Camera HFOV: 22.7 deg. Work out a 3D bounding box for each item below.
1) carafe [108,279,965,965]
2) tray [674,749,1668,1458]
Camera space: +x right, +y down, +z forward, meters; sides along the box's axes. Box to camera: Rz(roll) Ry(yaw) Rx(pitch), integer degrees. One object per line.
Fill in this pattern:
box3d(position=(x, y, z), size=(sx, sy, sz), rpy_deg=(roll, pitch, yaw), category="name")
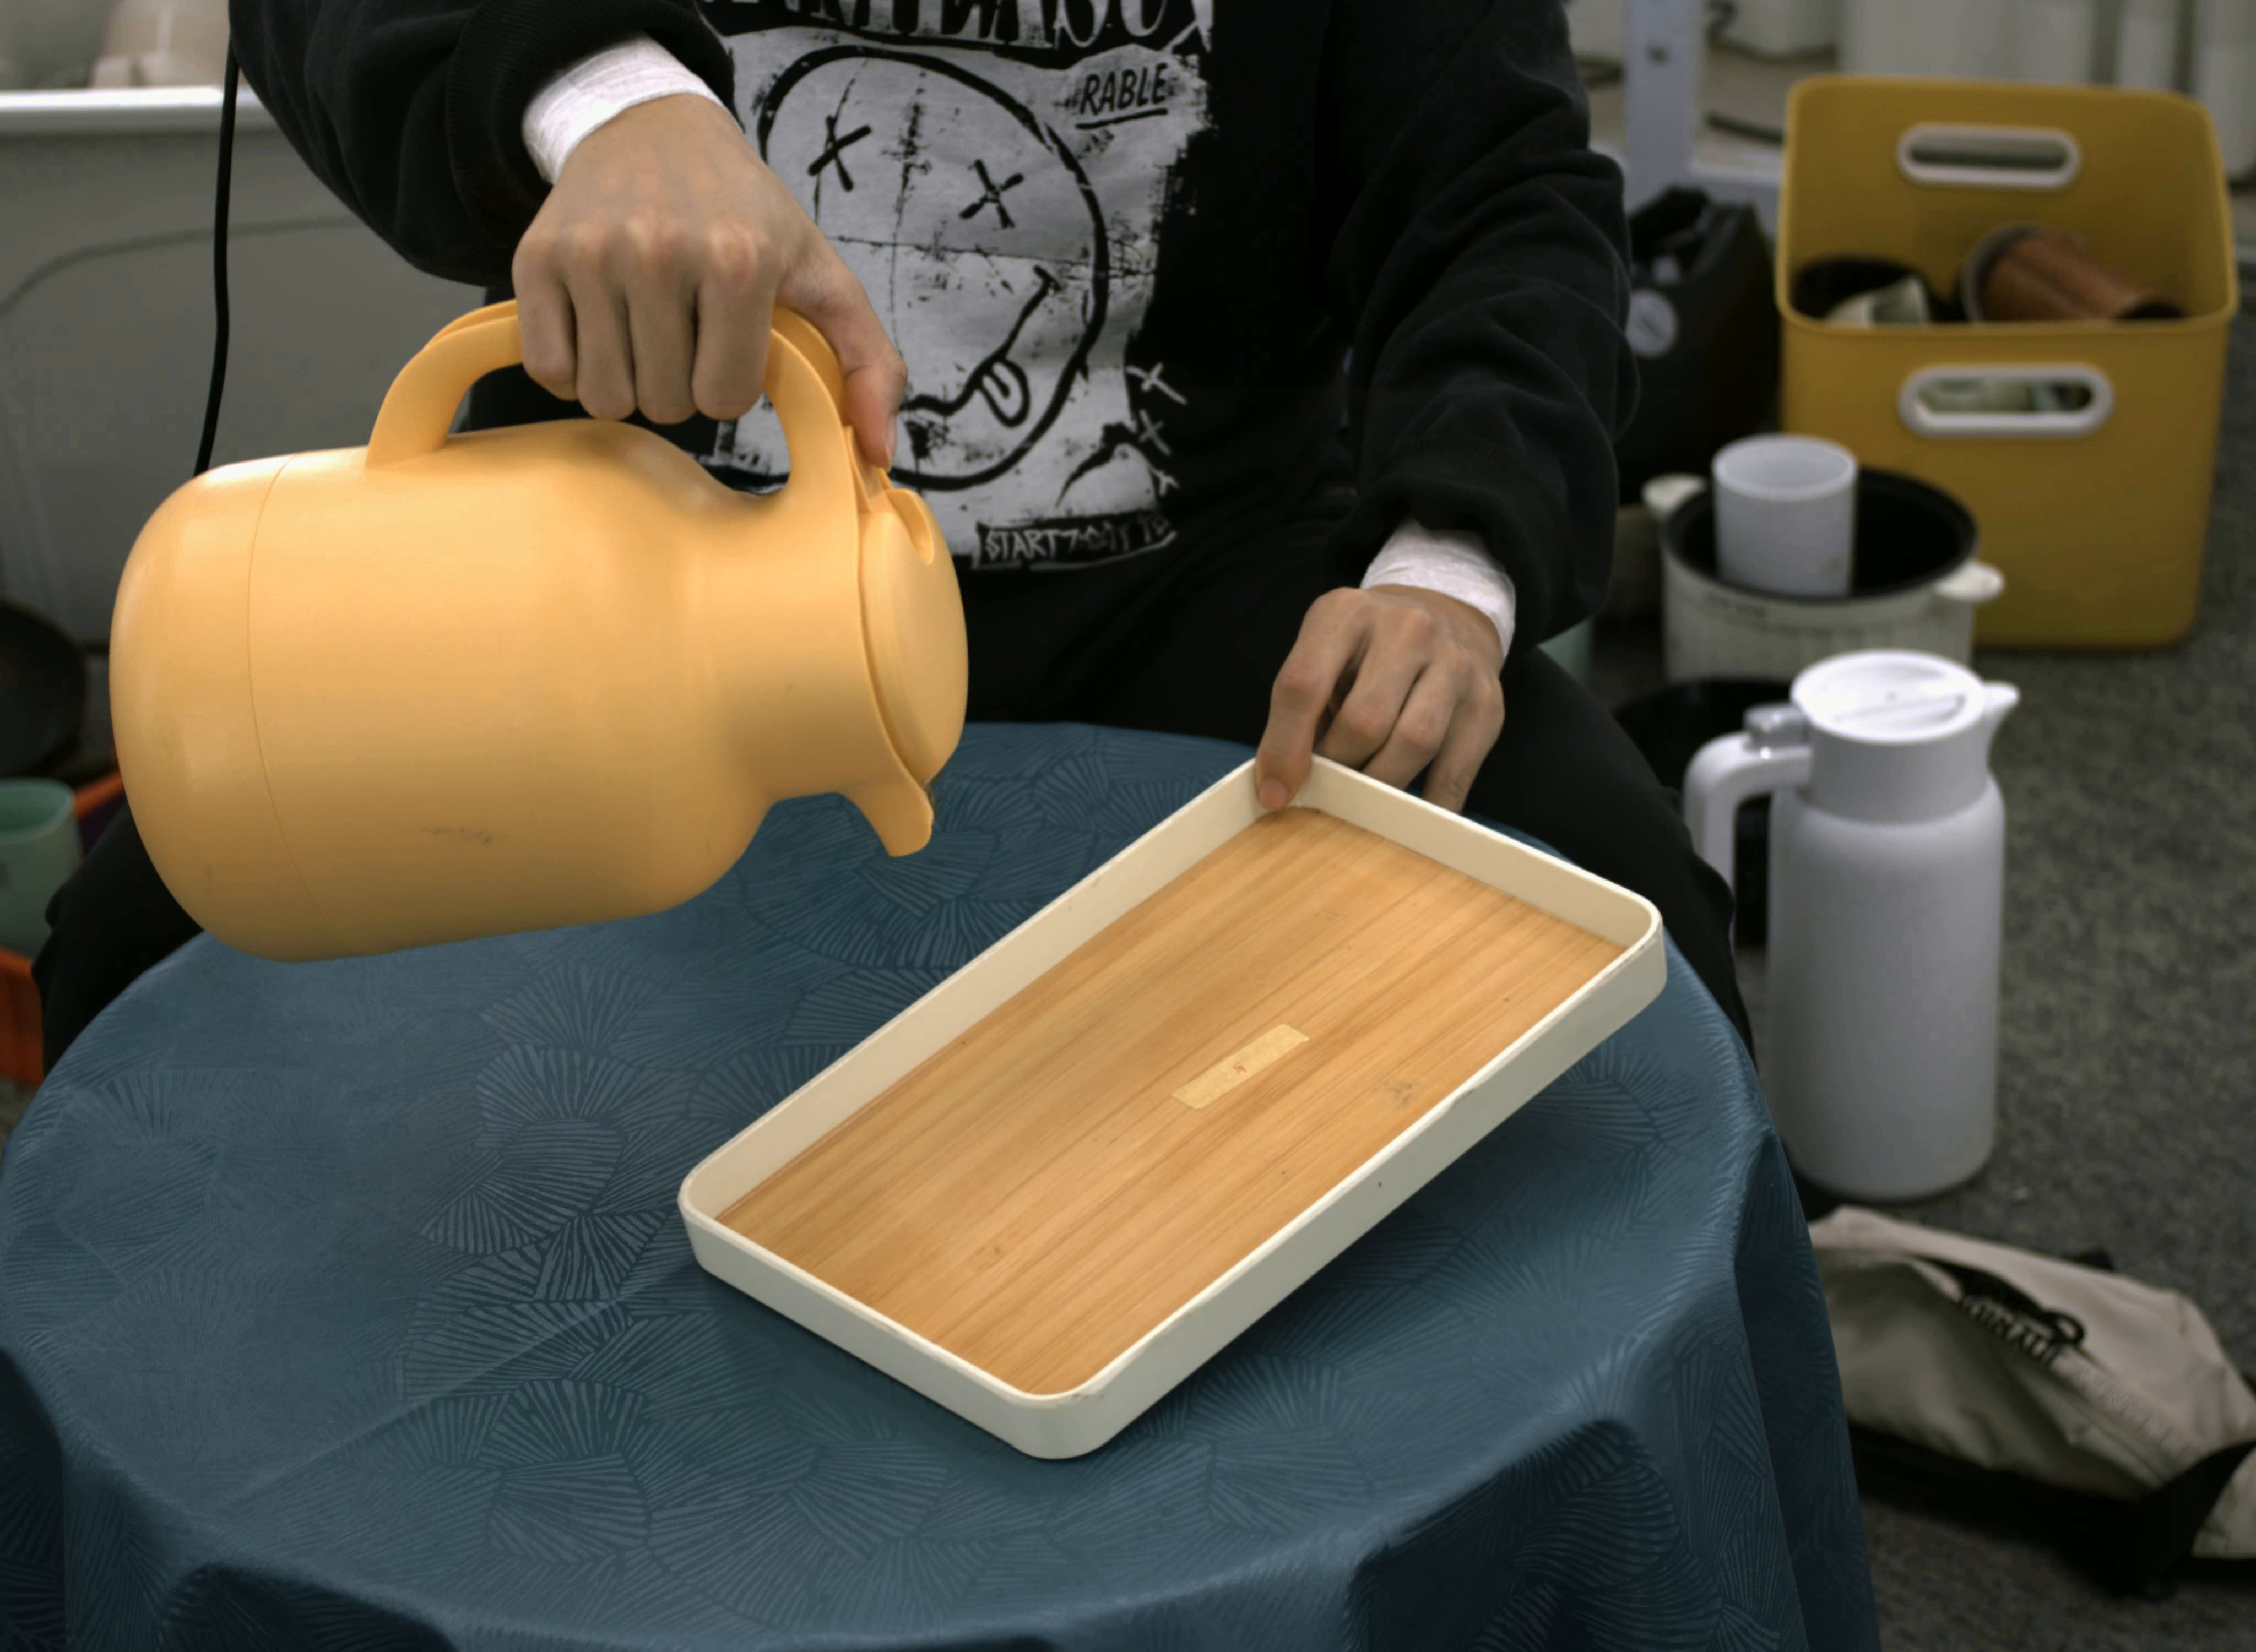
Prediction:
box3d(position=(-0.186, -0.066, 1.785), size=(0.258, 0.201, 0.165), rpy_deg=(-8, 16, 10), category="carafe")
box3d(position=(0.016, 0.084, 1.845), size=(0.191, 0.027, 0.304), rpy_deg=(24, 47, 40), category="tray")
